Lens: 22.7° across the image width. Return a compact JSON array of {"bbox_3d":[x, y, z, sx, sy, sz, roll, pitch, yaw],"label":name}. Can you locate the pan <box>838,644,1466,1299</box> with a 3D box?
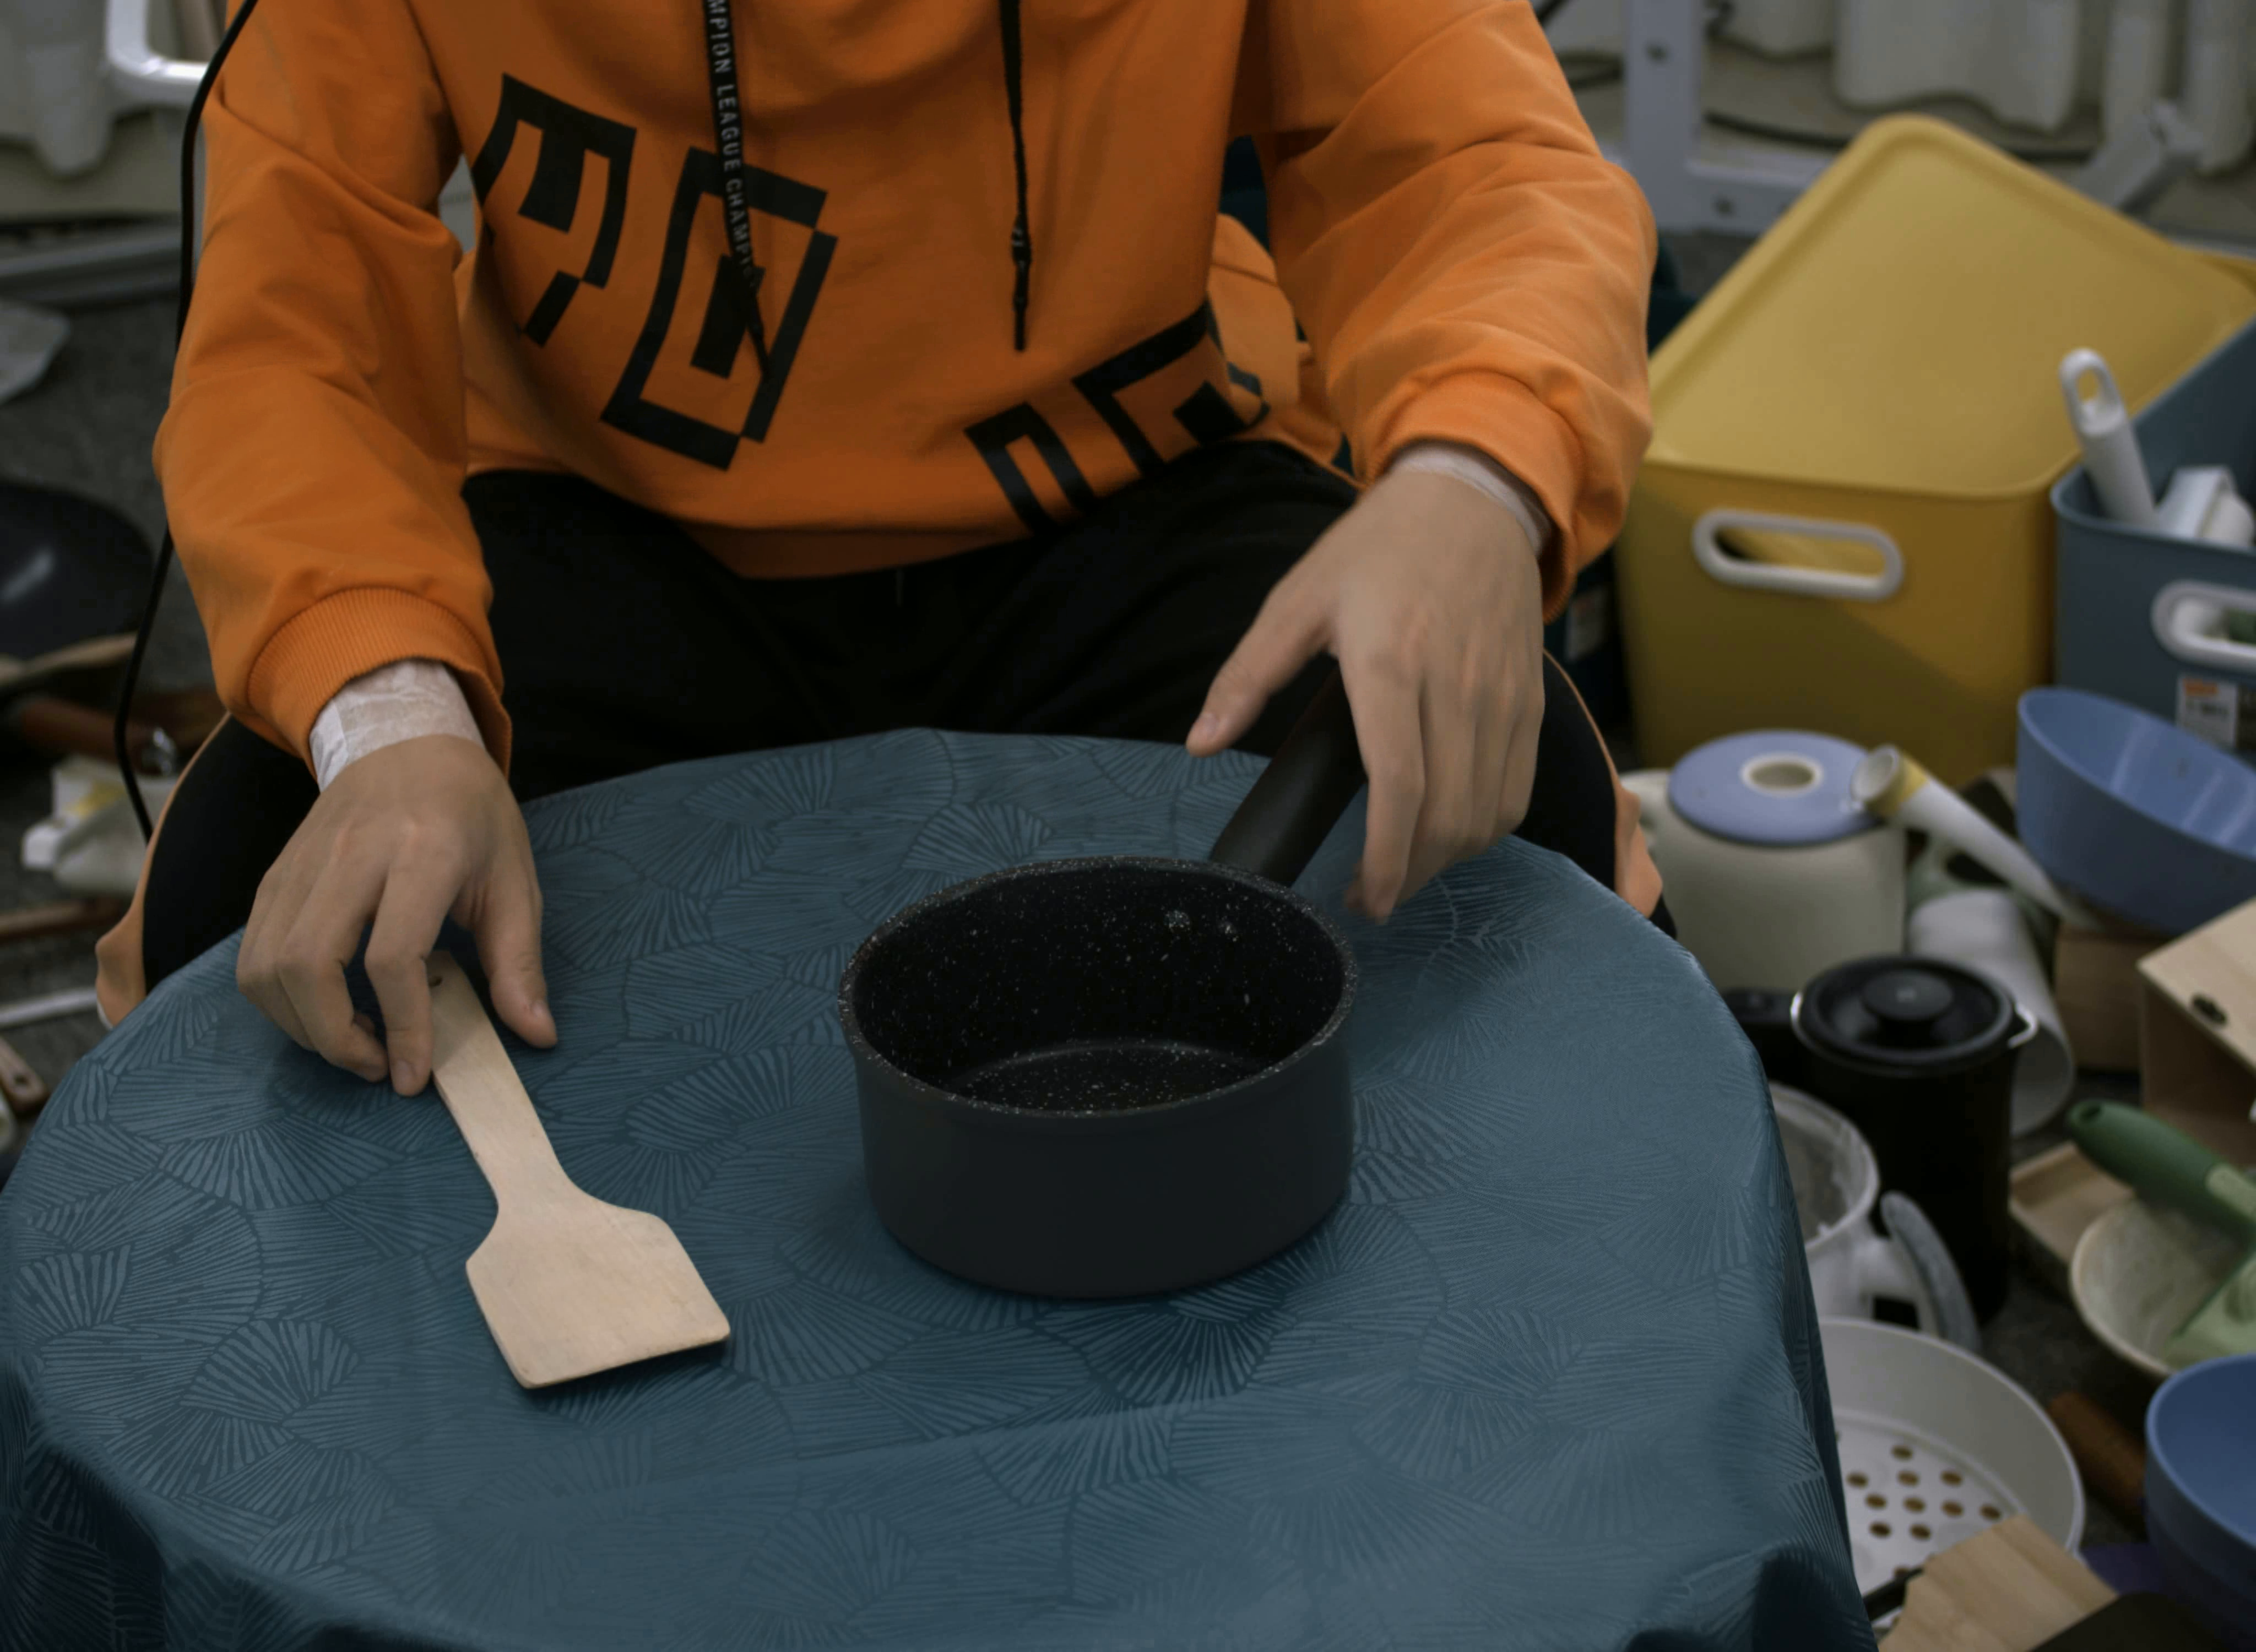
[{"bbox_3d":[0.029,0.045,1.916,0.171,0.085,0.334,12,33,26],"label":"pan"}]

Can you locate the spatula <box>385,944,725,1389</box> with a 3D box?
[{"bbox_3d":[-0.208,0.110,1.895,0.072,0.010,0.295,-15,30,-14],"label":"spatula"}]
